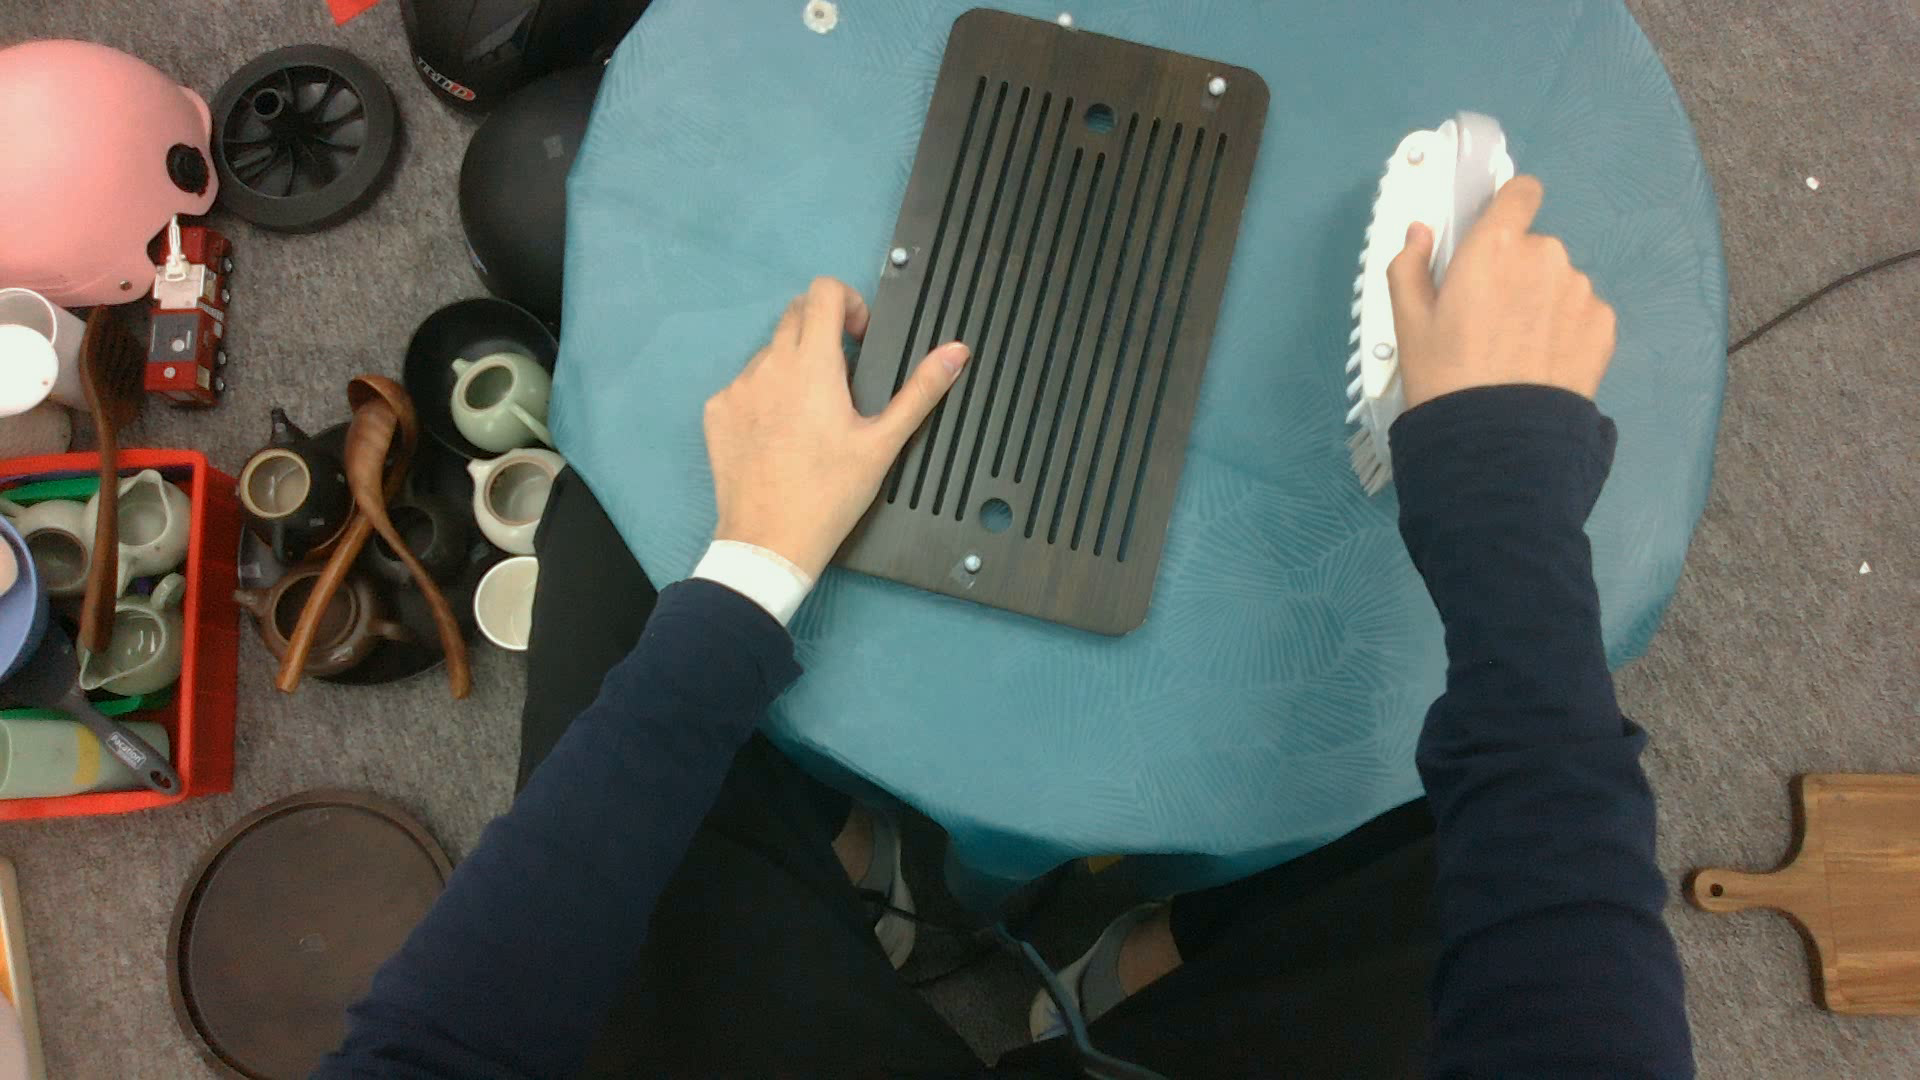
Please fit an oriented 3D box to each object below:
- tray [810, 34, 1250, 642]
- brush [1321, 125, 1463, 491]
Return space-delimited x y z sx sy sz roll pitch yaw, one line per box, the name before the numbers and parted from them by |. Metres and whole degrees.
tray | 0.040 -0.110 0.711 0.170 0.018 0.306 13 78 4
brush | 0.210 -0.116 0.668 0.061 0.094 0.176 9 80 3
